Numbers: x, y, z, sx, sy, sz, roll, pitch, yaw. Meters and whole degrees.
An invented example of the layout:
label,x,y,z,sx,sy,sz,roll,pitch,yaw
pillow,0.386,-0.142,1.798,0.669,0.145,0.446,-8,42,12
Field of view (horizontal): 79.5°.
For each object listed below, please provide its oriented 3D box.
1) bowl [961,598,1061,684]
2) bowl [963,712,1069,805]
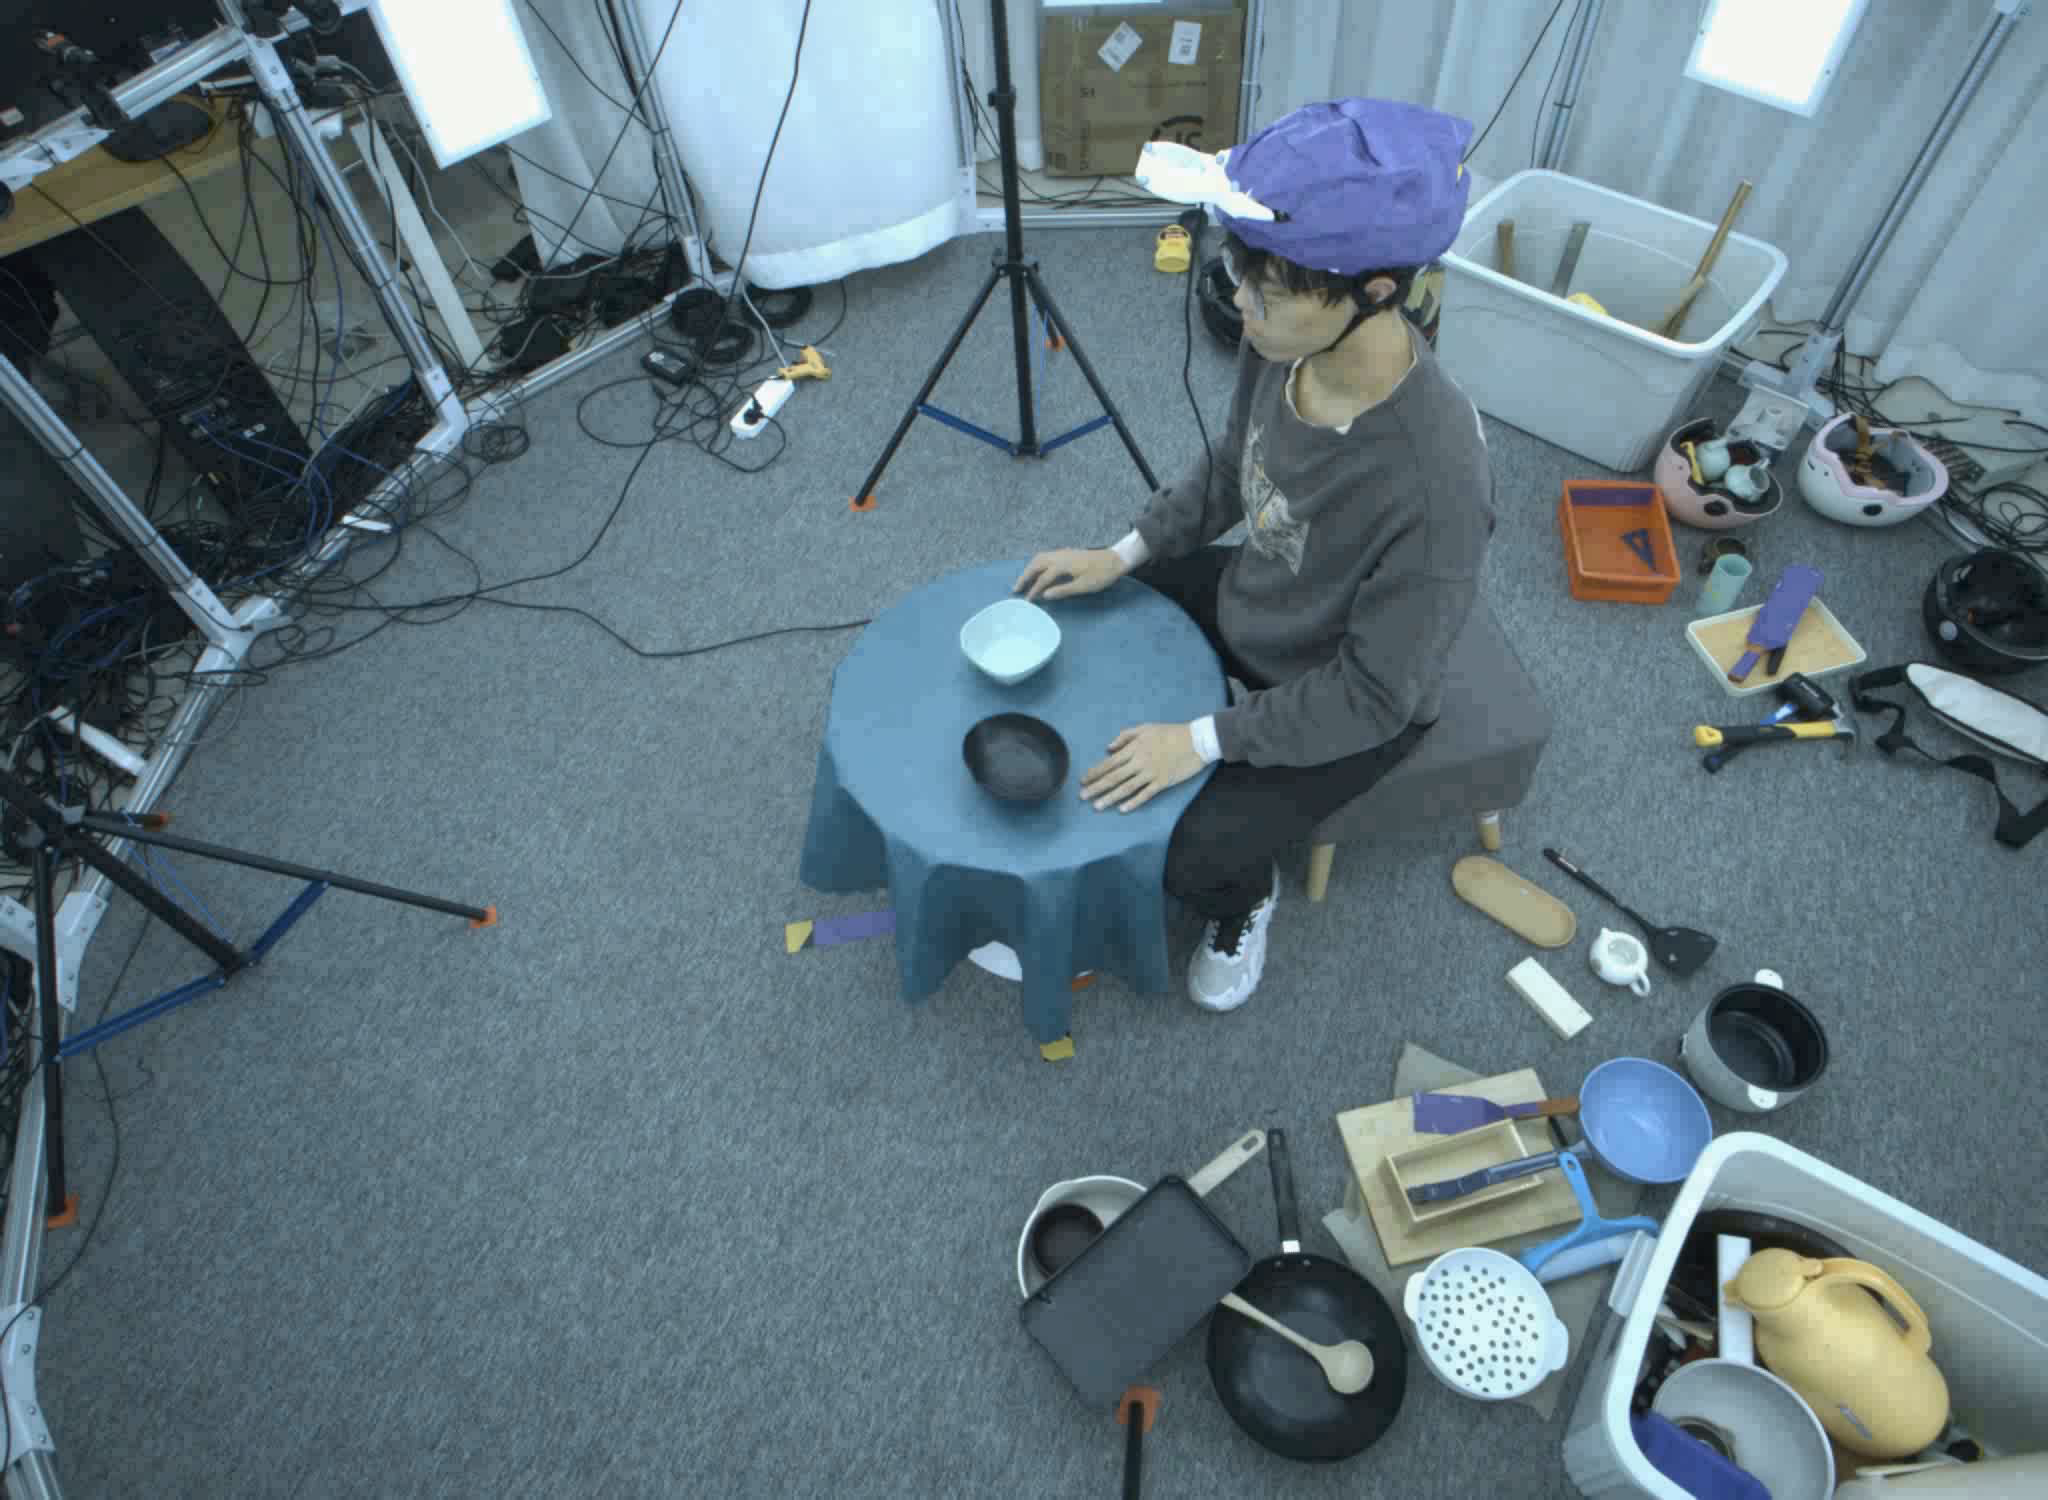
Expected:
label,x,y,z,sx,sy,sz,roll,pitch,yaw
bowl,-0.018,-0.155,1.861,0.151,0.059,0.150,-2,55,4
bowl,-0.011,0.022,1.731,0.138,0.067,0.167,-36,59,-22
